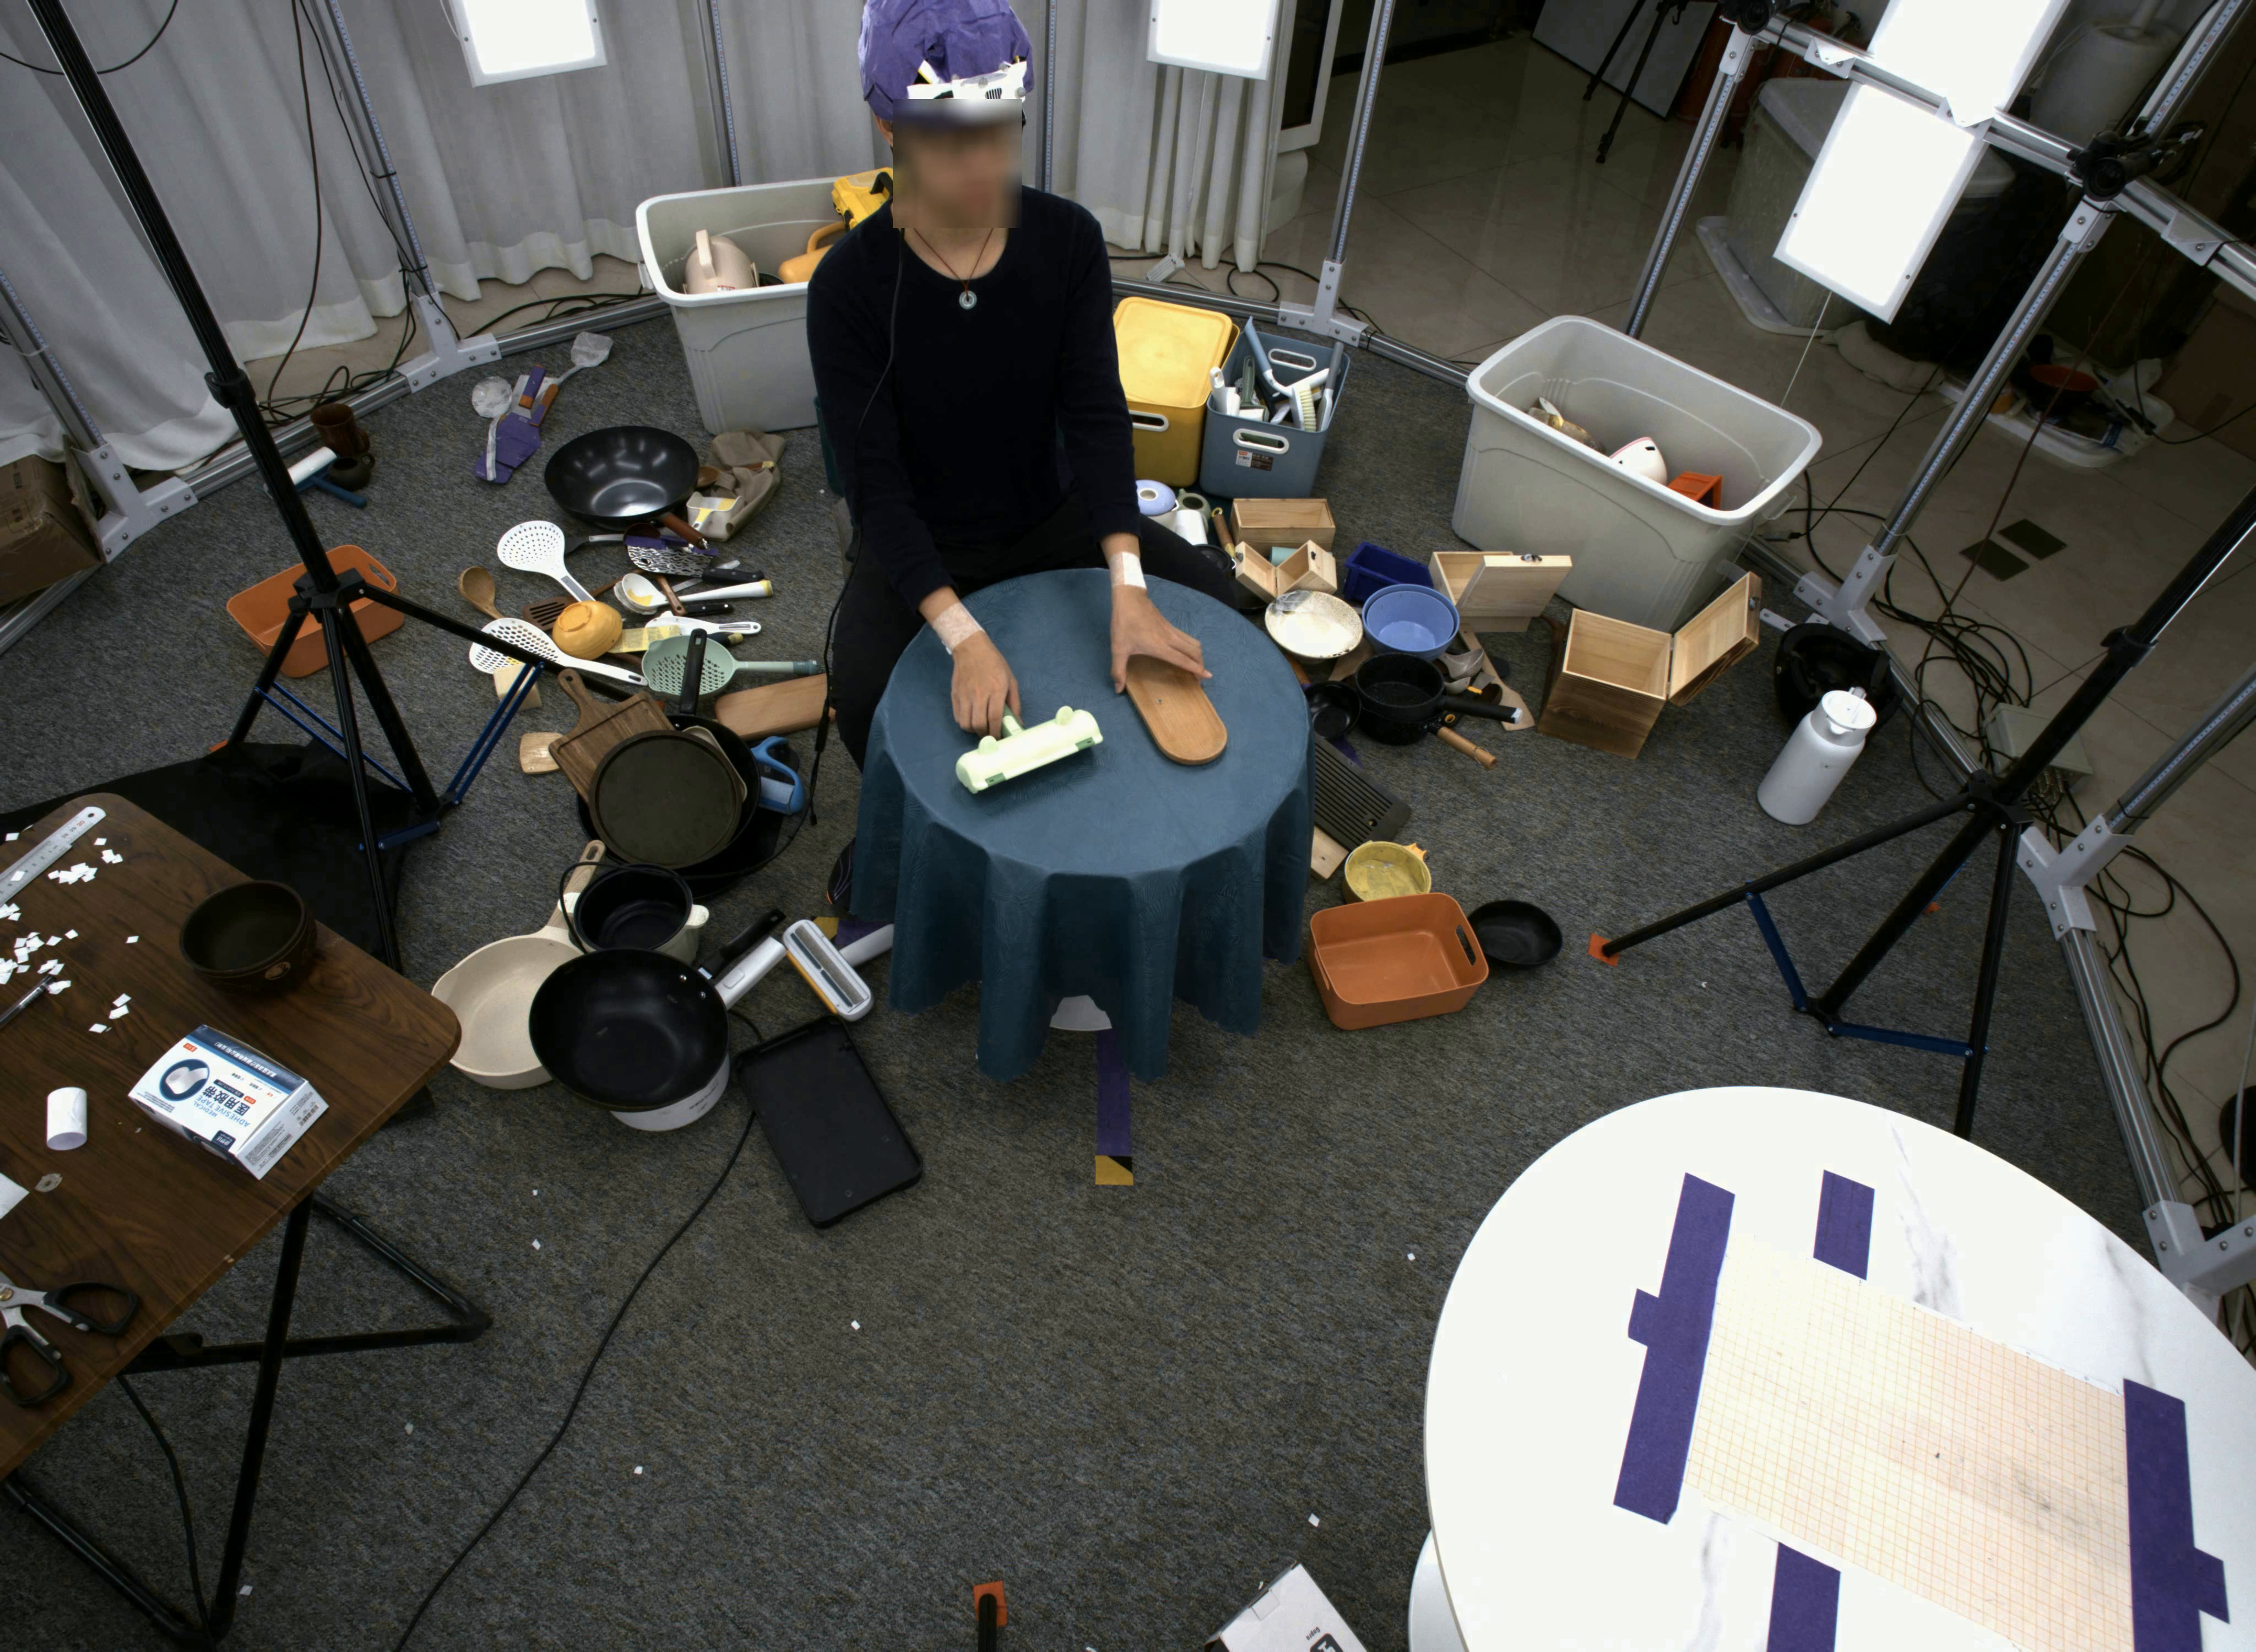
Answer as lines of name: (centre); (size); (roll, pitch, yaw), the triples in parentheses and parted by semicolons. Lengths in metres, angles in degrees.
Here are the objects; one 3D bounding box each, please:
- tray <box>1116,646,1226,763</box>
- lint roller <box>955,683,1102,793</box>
tray: (0.059, -0.174, 1.813); (0.102, 0.020, 0.236); (-15, 51, -18)
lint roller: (-0.161, -0.146, 1.728); (0.199, 0.080, 0.187); (-23, 60, -23)
